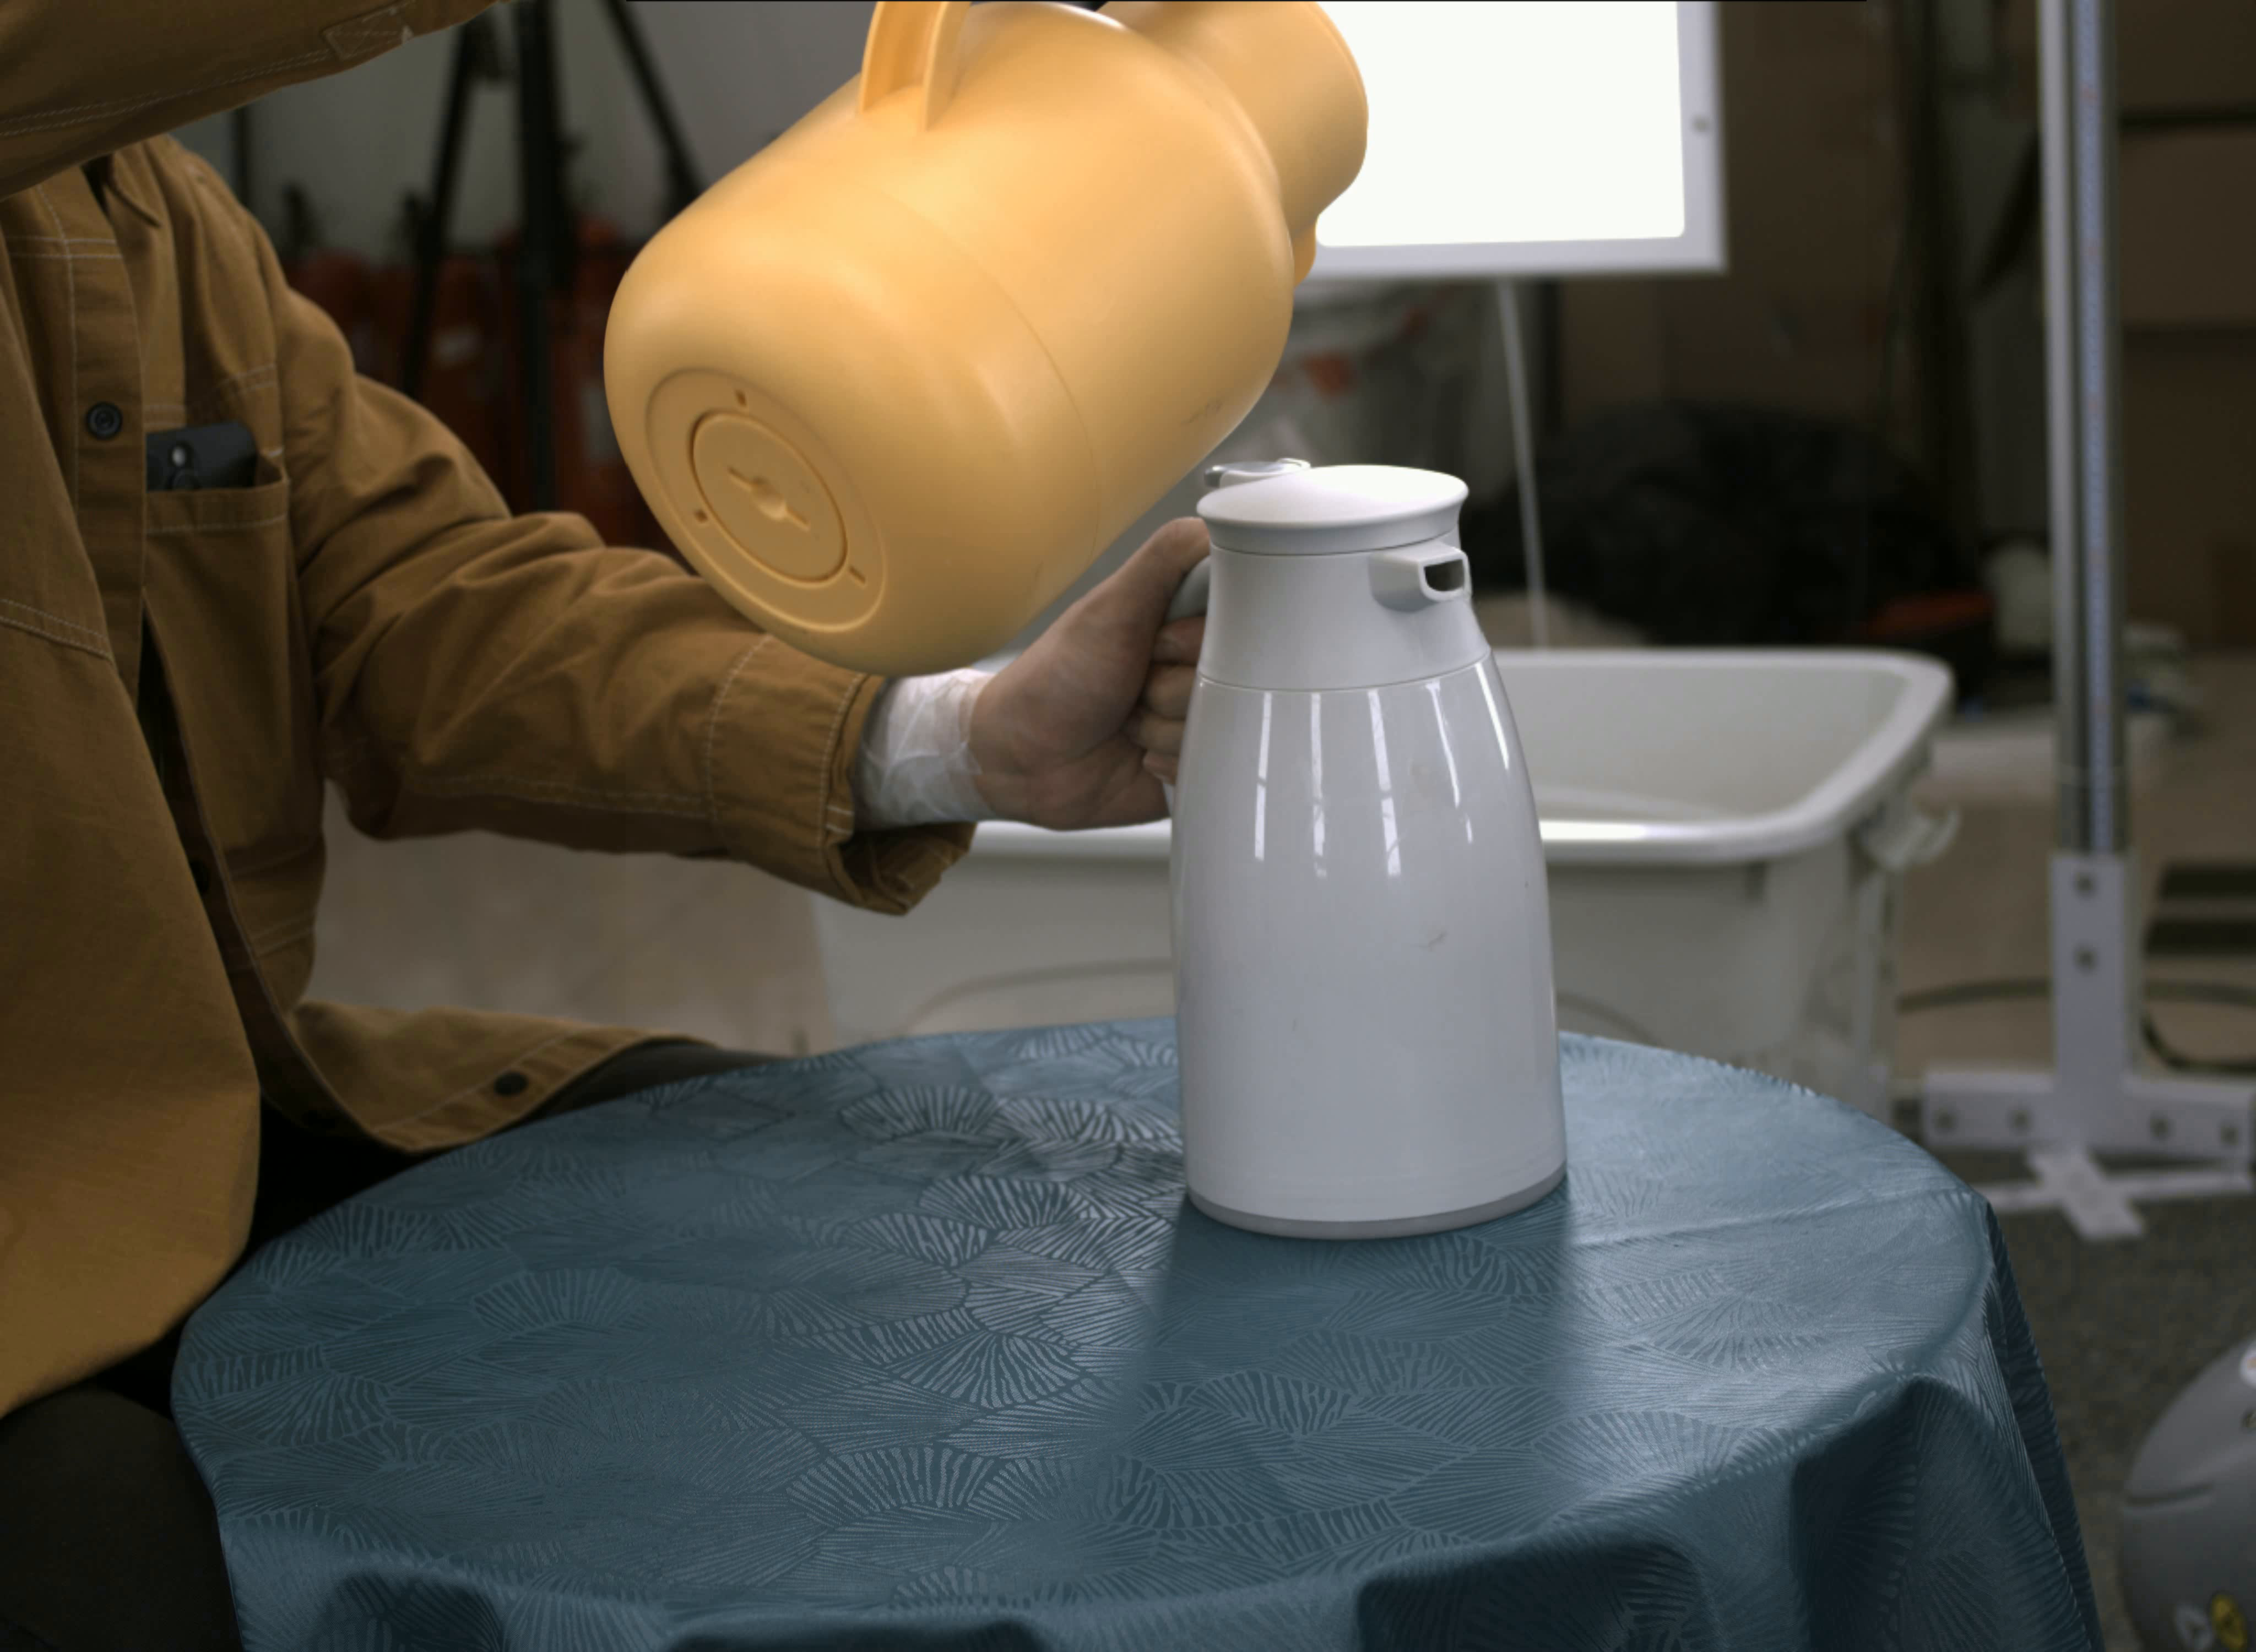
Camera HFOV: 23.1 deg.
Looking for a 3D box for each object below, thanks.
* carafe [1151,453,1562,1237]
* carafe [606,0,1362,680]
[{"bbox_3d":[0.064,-0.001,1.874,0.129,0.249,0.171,-13,16,-31],"label":"carafe"},{"bbox_3d":[-0.037,-0.188,1.695,0.166,0.202,0.255,15,47,36],"label":"carafe"}]
